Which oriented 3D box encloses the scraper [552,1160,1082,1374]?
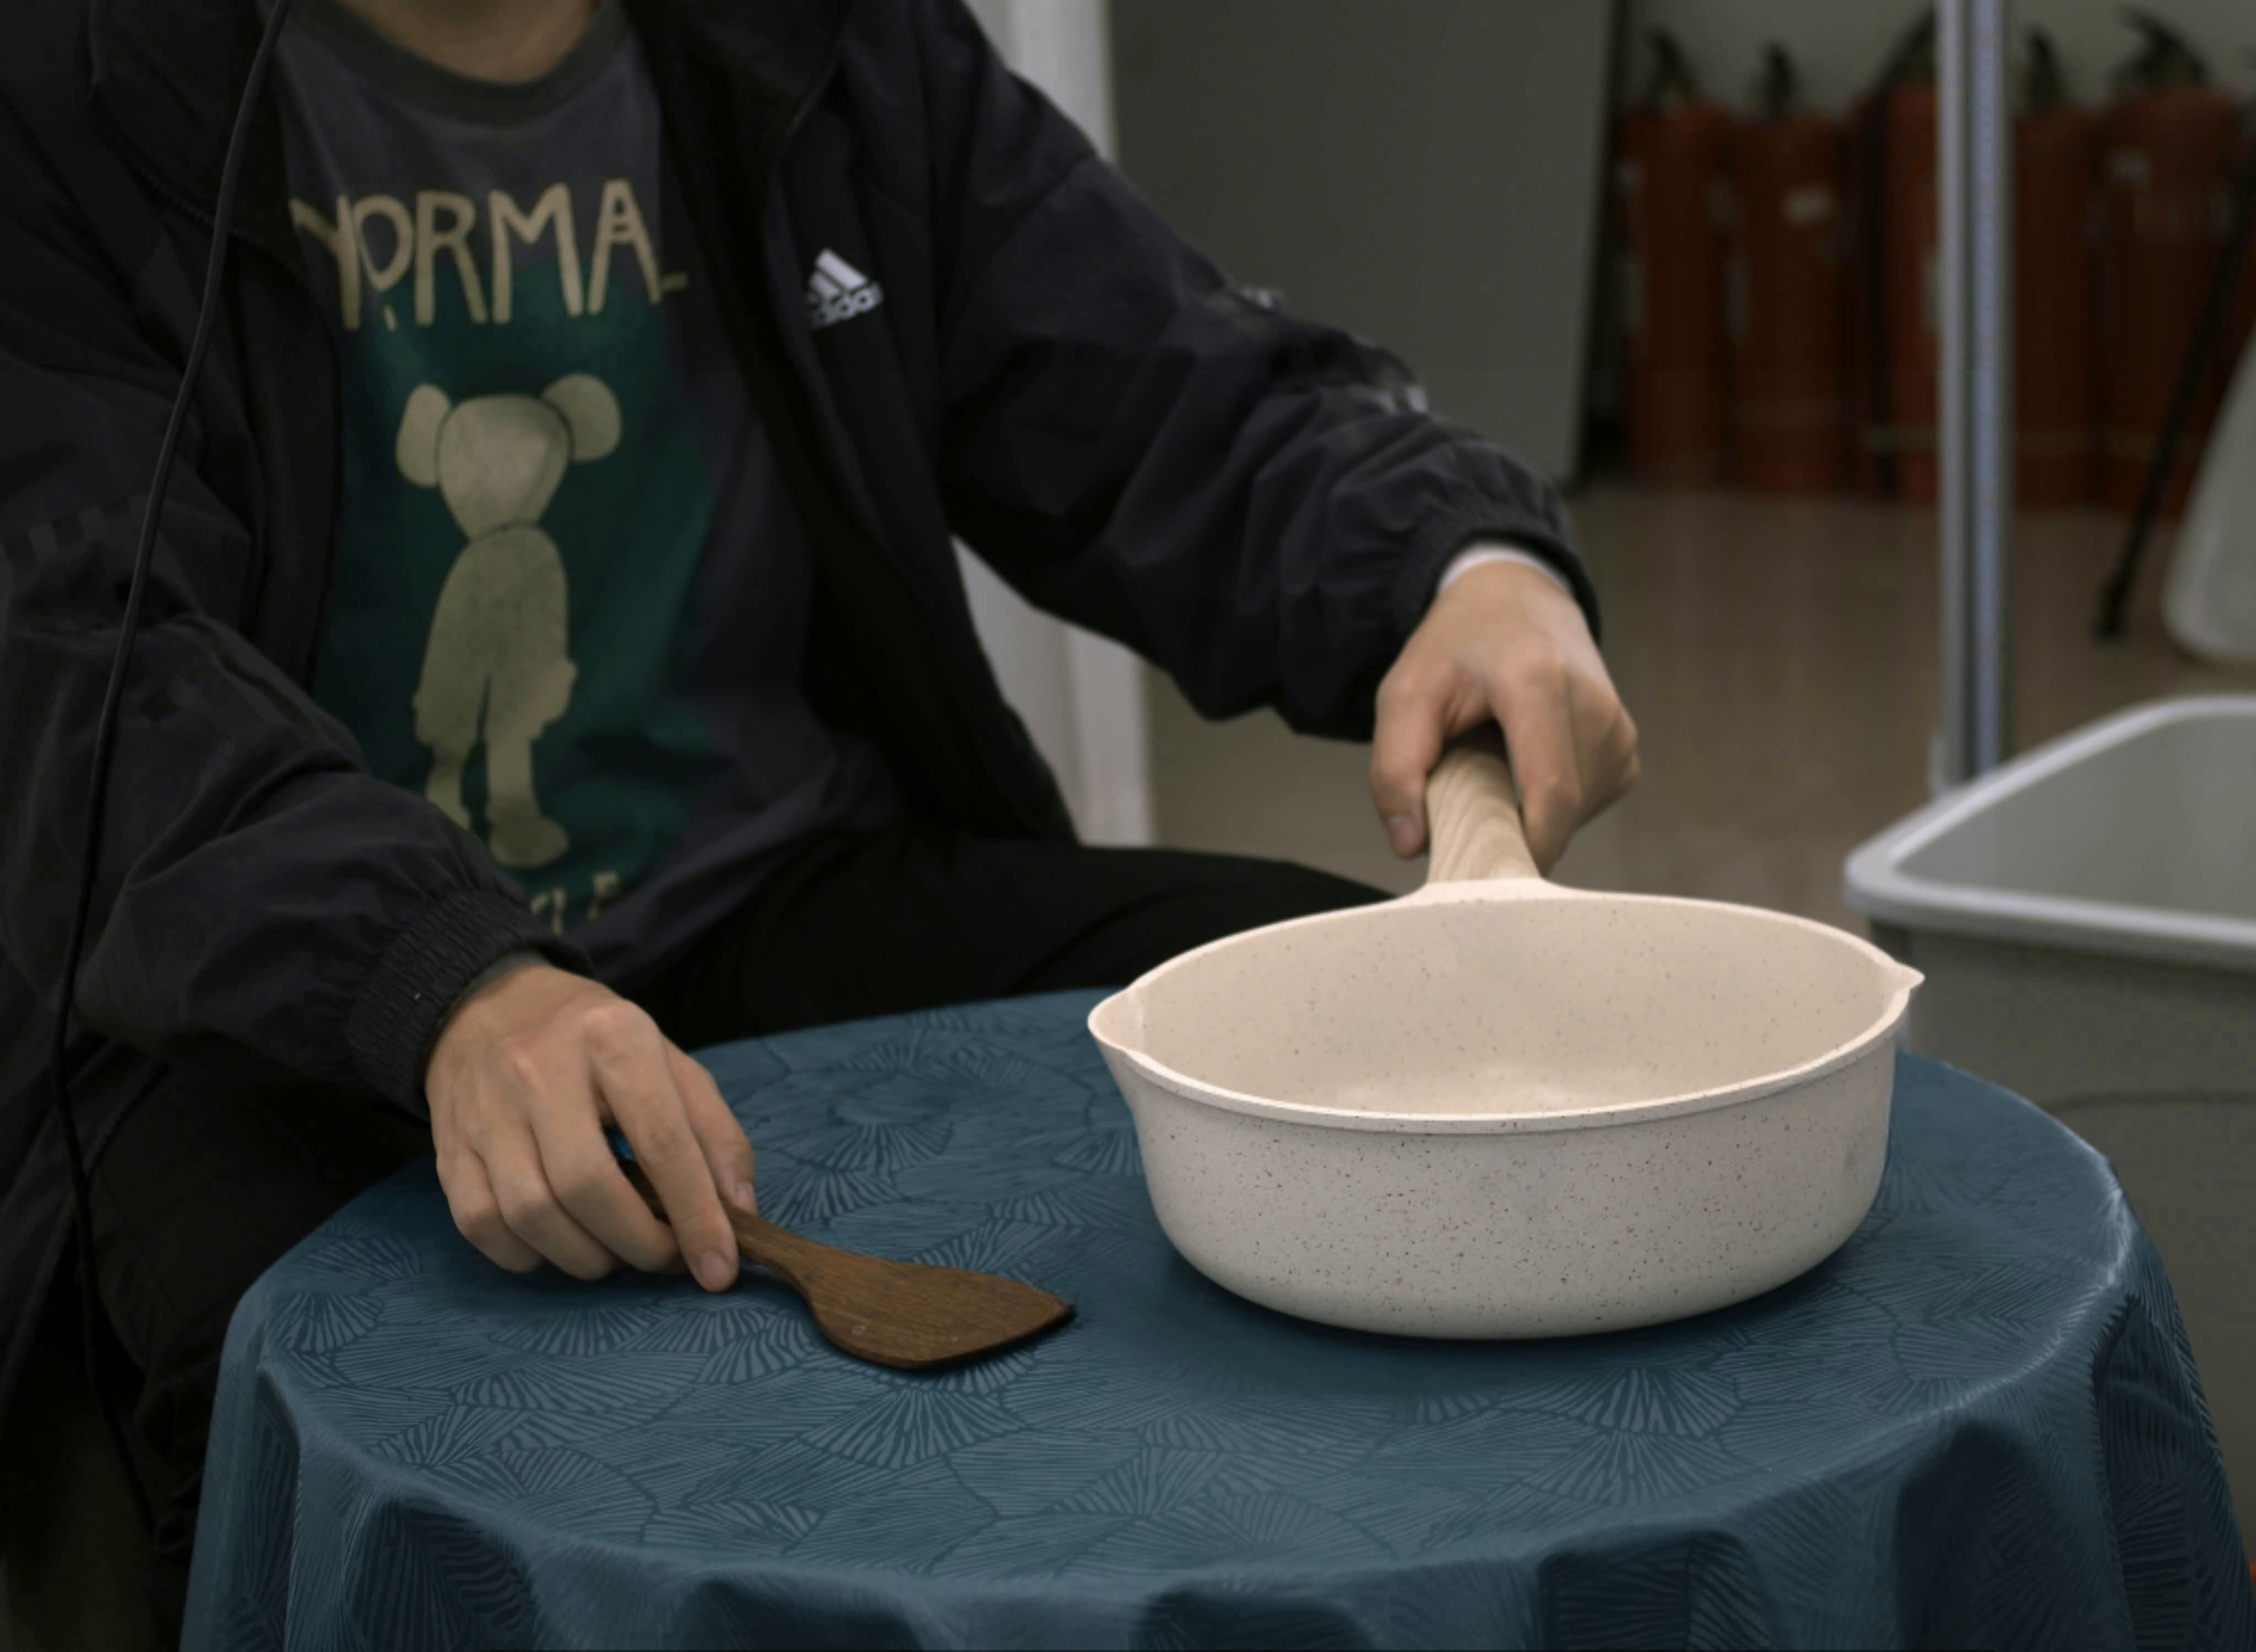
[{"bbox_3d":[-0.107,0.136,1.699,0.074,0.011,0.213,-15,23,-42],"label":"scraper"}]

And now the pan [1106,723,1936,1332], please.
[{"bbox_3d":[0.125,0.061,1.773,0.260,0.103,0.435,-5,13,2],"label":"pan"}]
